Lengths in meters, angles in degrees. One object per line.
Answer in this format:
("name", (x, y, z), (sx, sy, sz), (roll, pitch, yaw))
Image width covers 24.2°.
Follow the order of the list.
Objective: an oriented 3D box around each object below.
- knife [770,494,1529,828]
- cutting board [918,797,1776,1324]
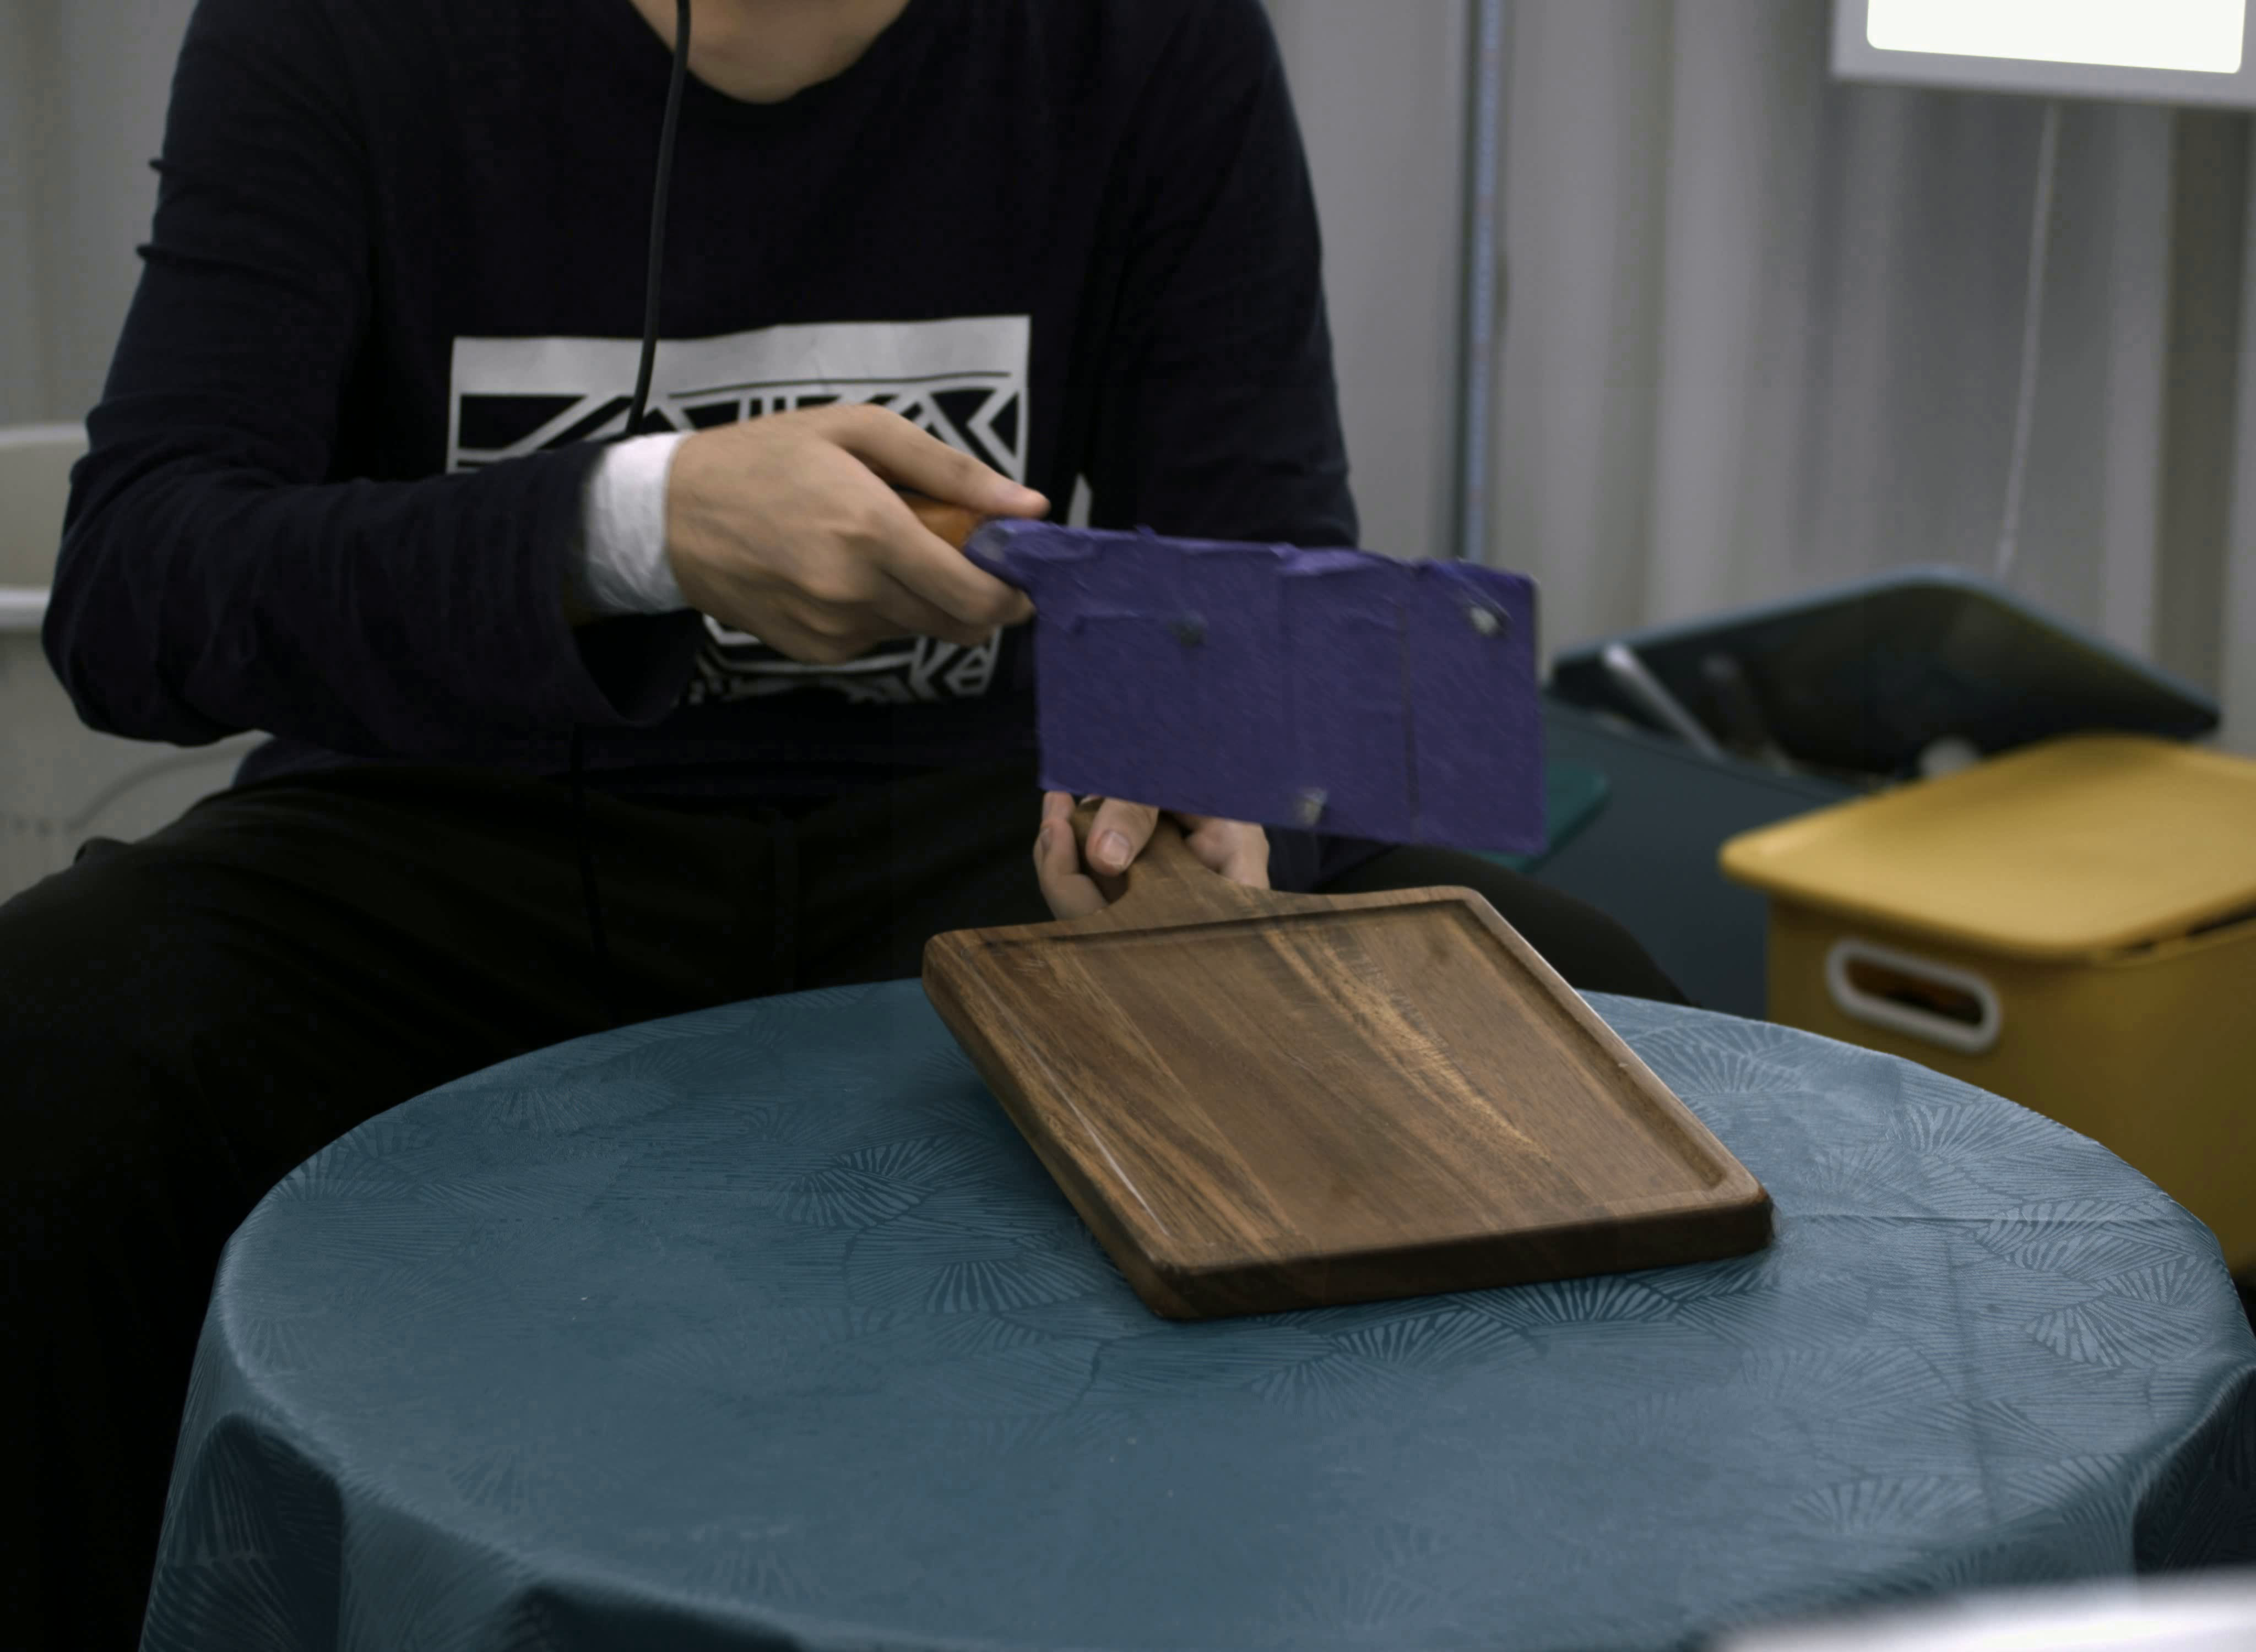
("knife", (0.001, -0.055, 1.691), (0.311, 0.104, 0.032), (7, 14, 43))
("cutting board", (0.047, 0.063, 1.688), (0.201, 0.023, 0.348), (-5, 23, -18))
